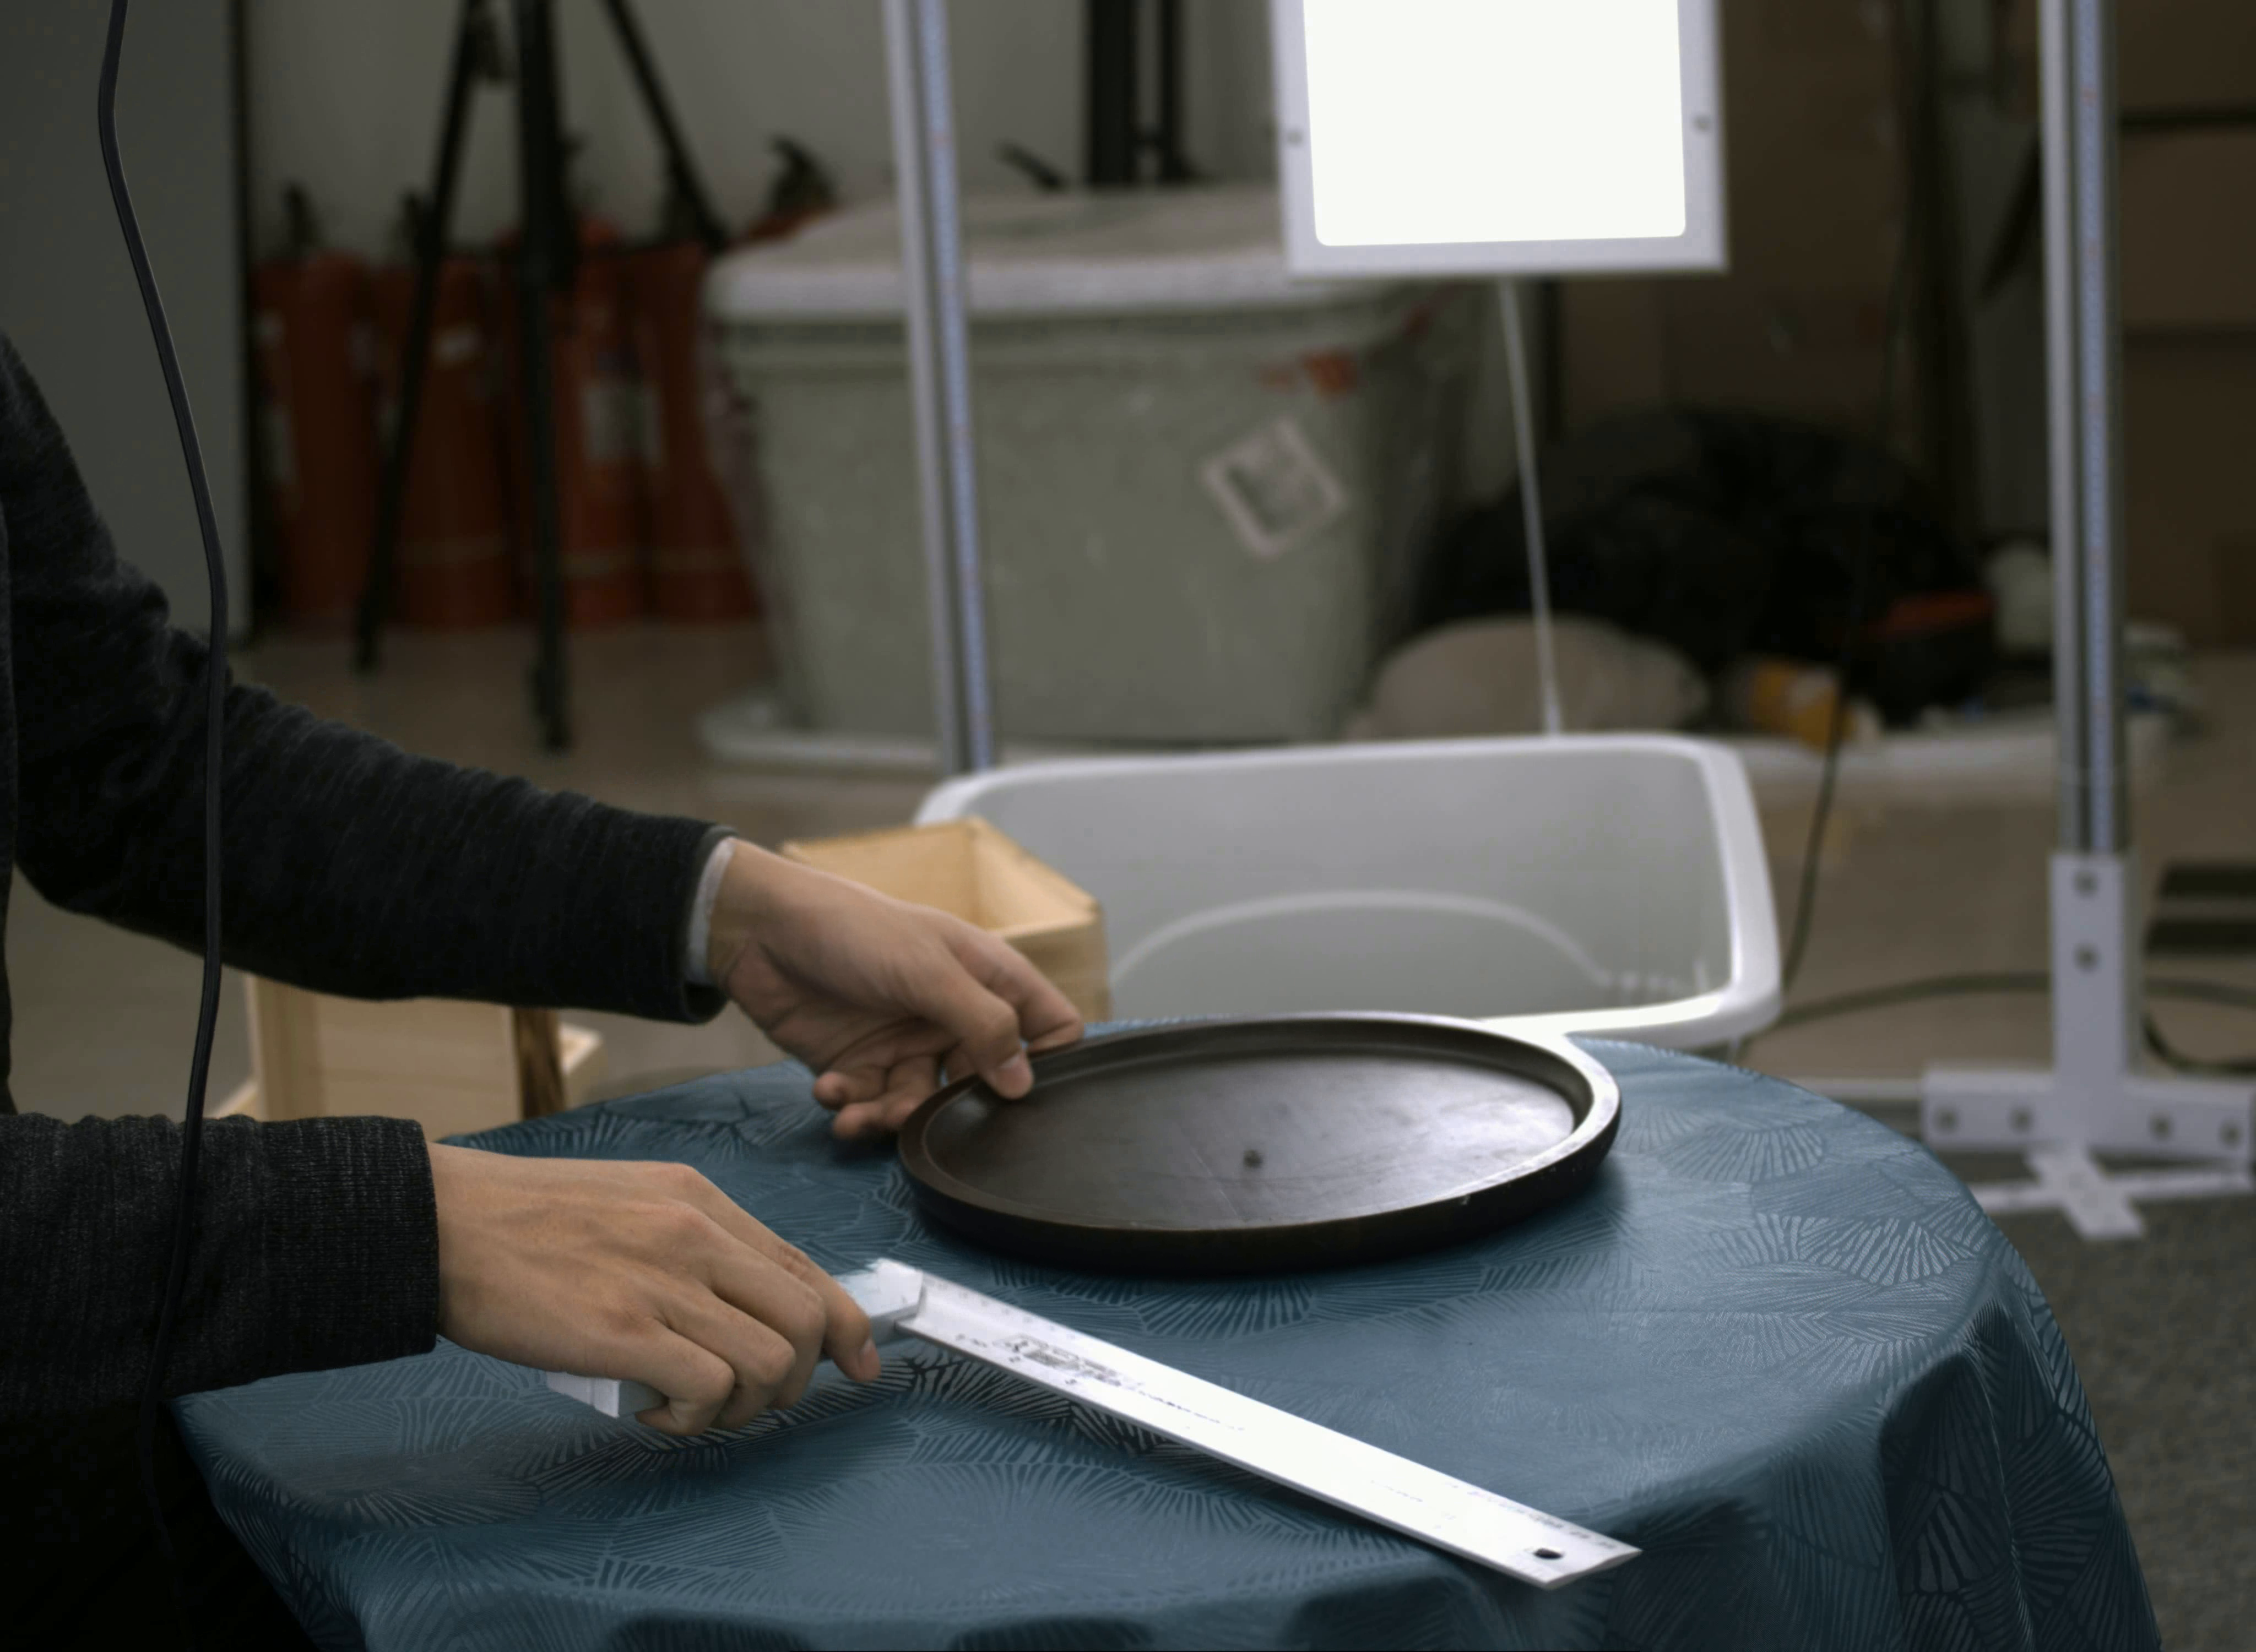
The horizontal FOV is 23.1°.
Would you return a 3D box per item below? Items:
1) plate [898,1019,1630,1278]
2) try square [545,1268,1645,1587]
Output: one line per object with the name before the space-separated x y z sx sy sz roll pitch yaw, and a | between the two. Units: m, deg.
plate | 0.048 0.109 1.904 0.254 0.029 0.254 -4 15 0
try square | -0.016 0.185 1.604 0.148 0.016 0.319 -13 19 -41
